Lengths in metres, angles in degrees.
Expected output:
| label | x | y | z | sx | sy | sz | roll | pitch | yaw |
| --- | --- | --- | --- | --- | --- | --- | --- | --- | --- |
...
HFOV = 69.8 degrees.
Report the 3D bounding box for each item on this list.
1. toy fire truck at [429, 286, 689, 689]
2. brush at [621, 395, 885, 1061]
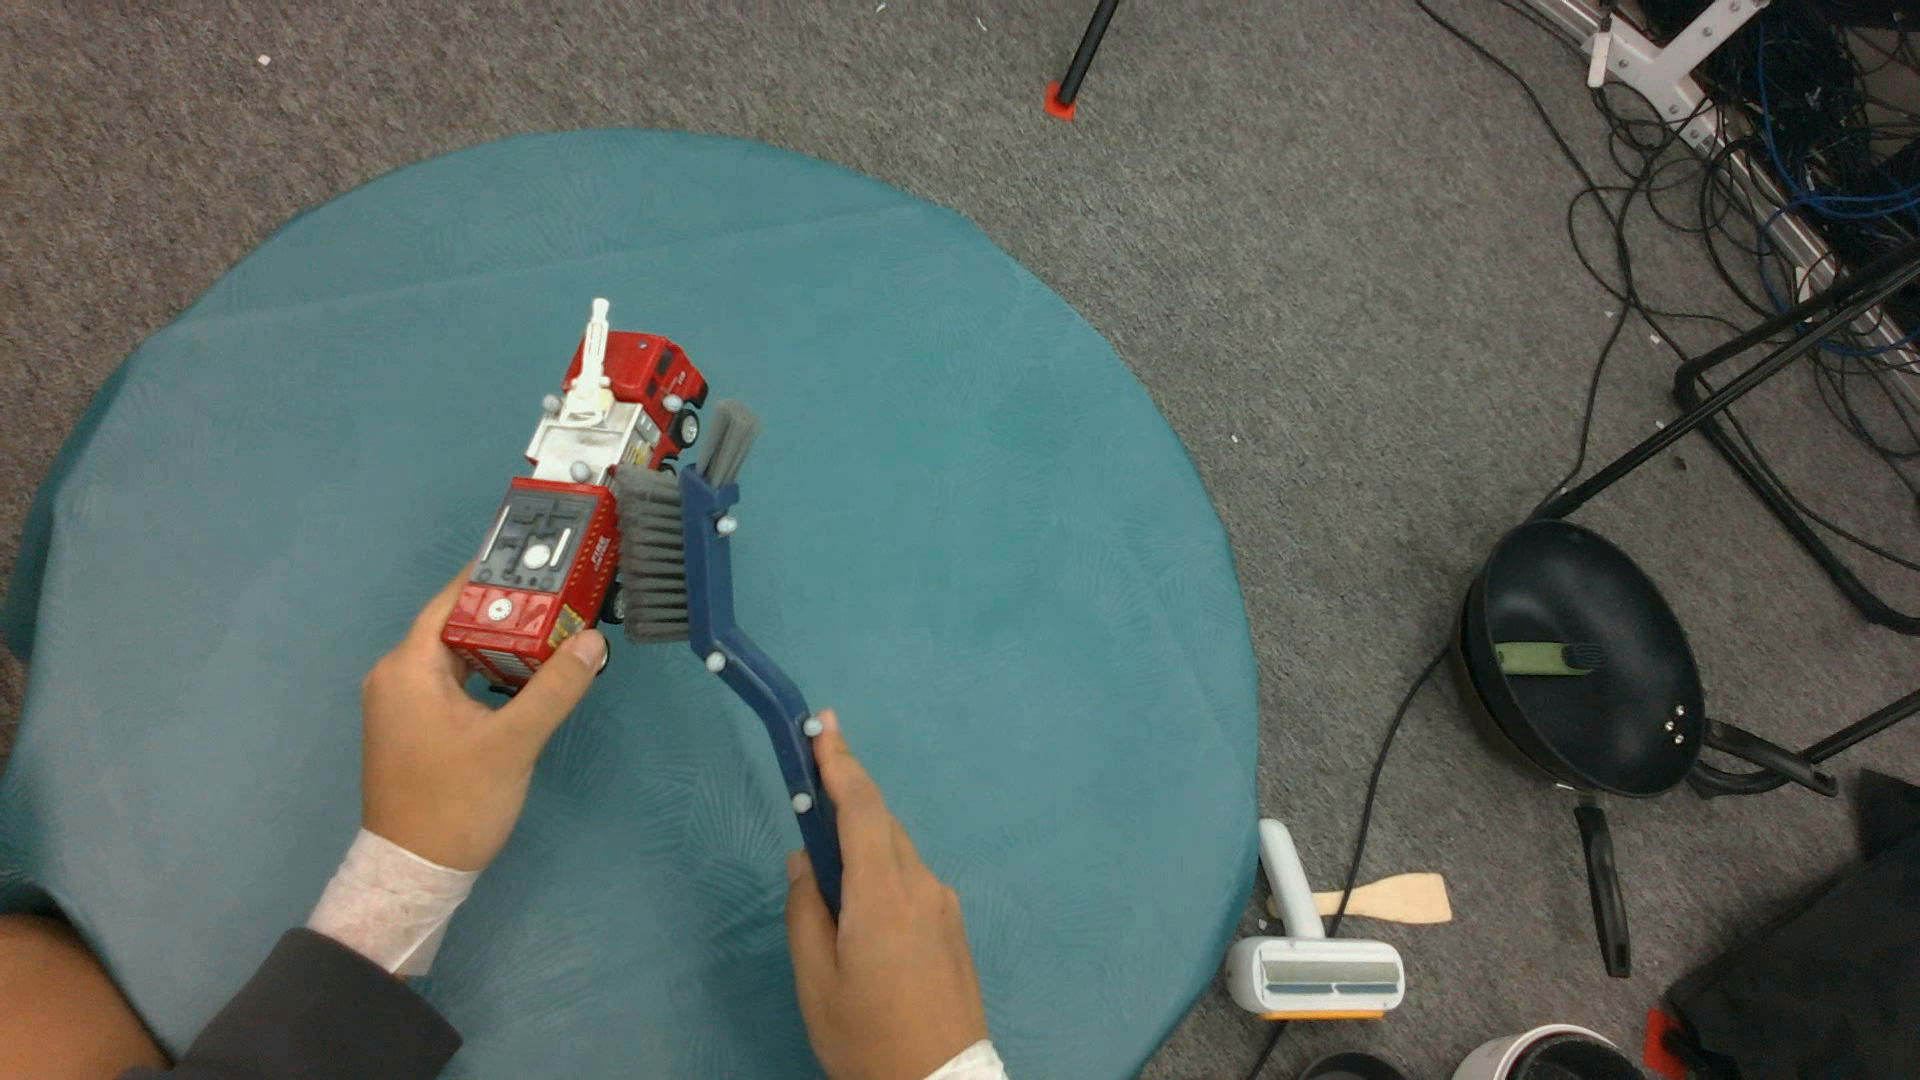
| label | x | y | z | sx | sy | sz | roll | pitch | yaw |
| --- | --- | --- | --- | --- | --- | --- | --- | --- | --- |
| toy fire truck | -0.167 | -0.021 | 0.589 | 0.054 | 0.070 | 0.168 | 5 | 63 | 17 |
| brush | -0.068 | 0.081 | 0.575 | 0.095 | 0.033 | 0.273 | -25 | 94 | 9 |
